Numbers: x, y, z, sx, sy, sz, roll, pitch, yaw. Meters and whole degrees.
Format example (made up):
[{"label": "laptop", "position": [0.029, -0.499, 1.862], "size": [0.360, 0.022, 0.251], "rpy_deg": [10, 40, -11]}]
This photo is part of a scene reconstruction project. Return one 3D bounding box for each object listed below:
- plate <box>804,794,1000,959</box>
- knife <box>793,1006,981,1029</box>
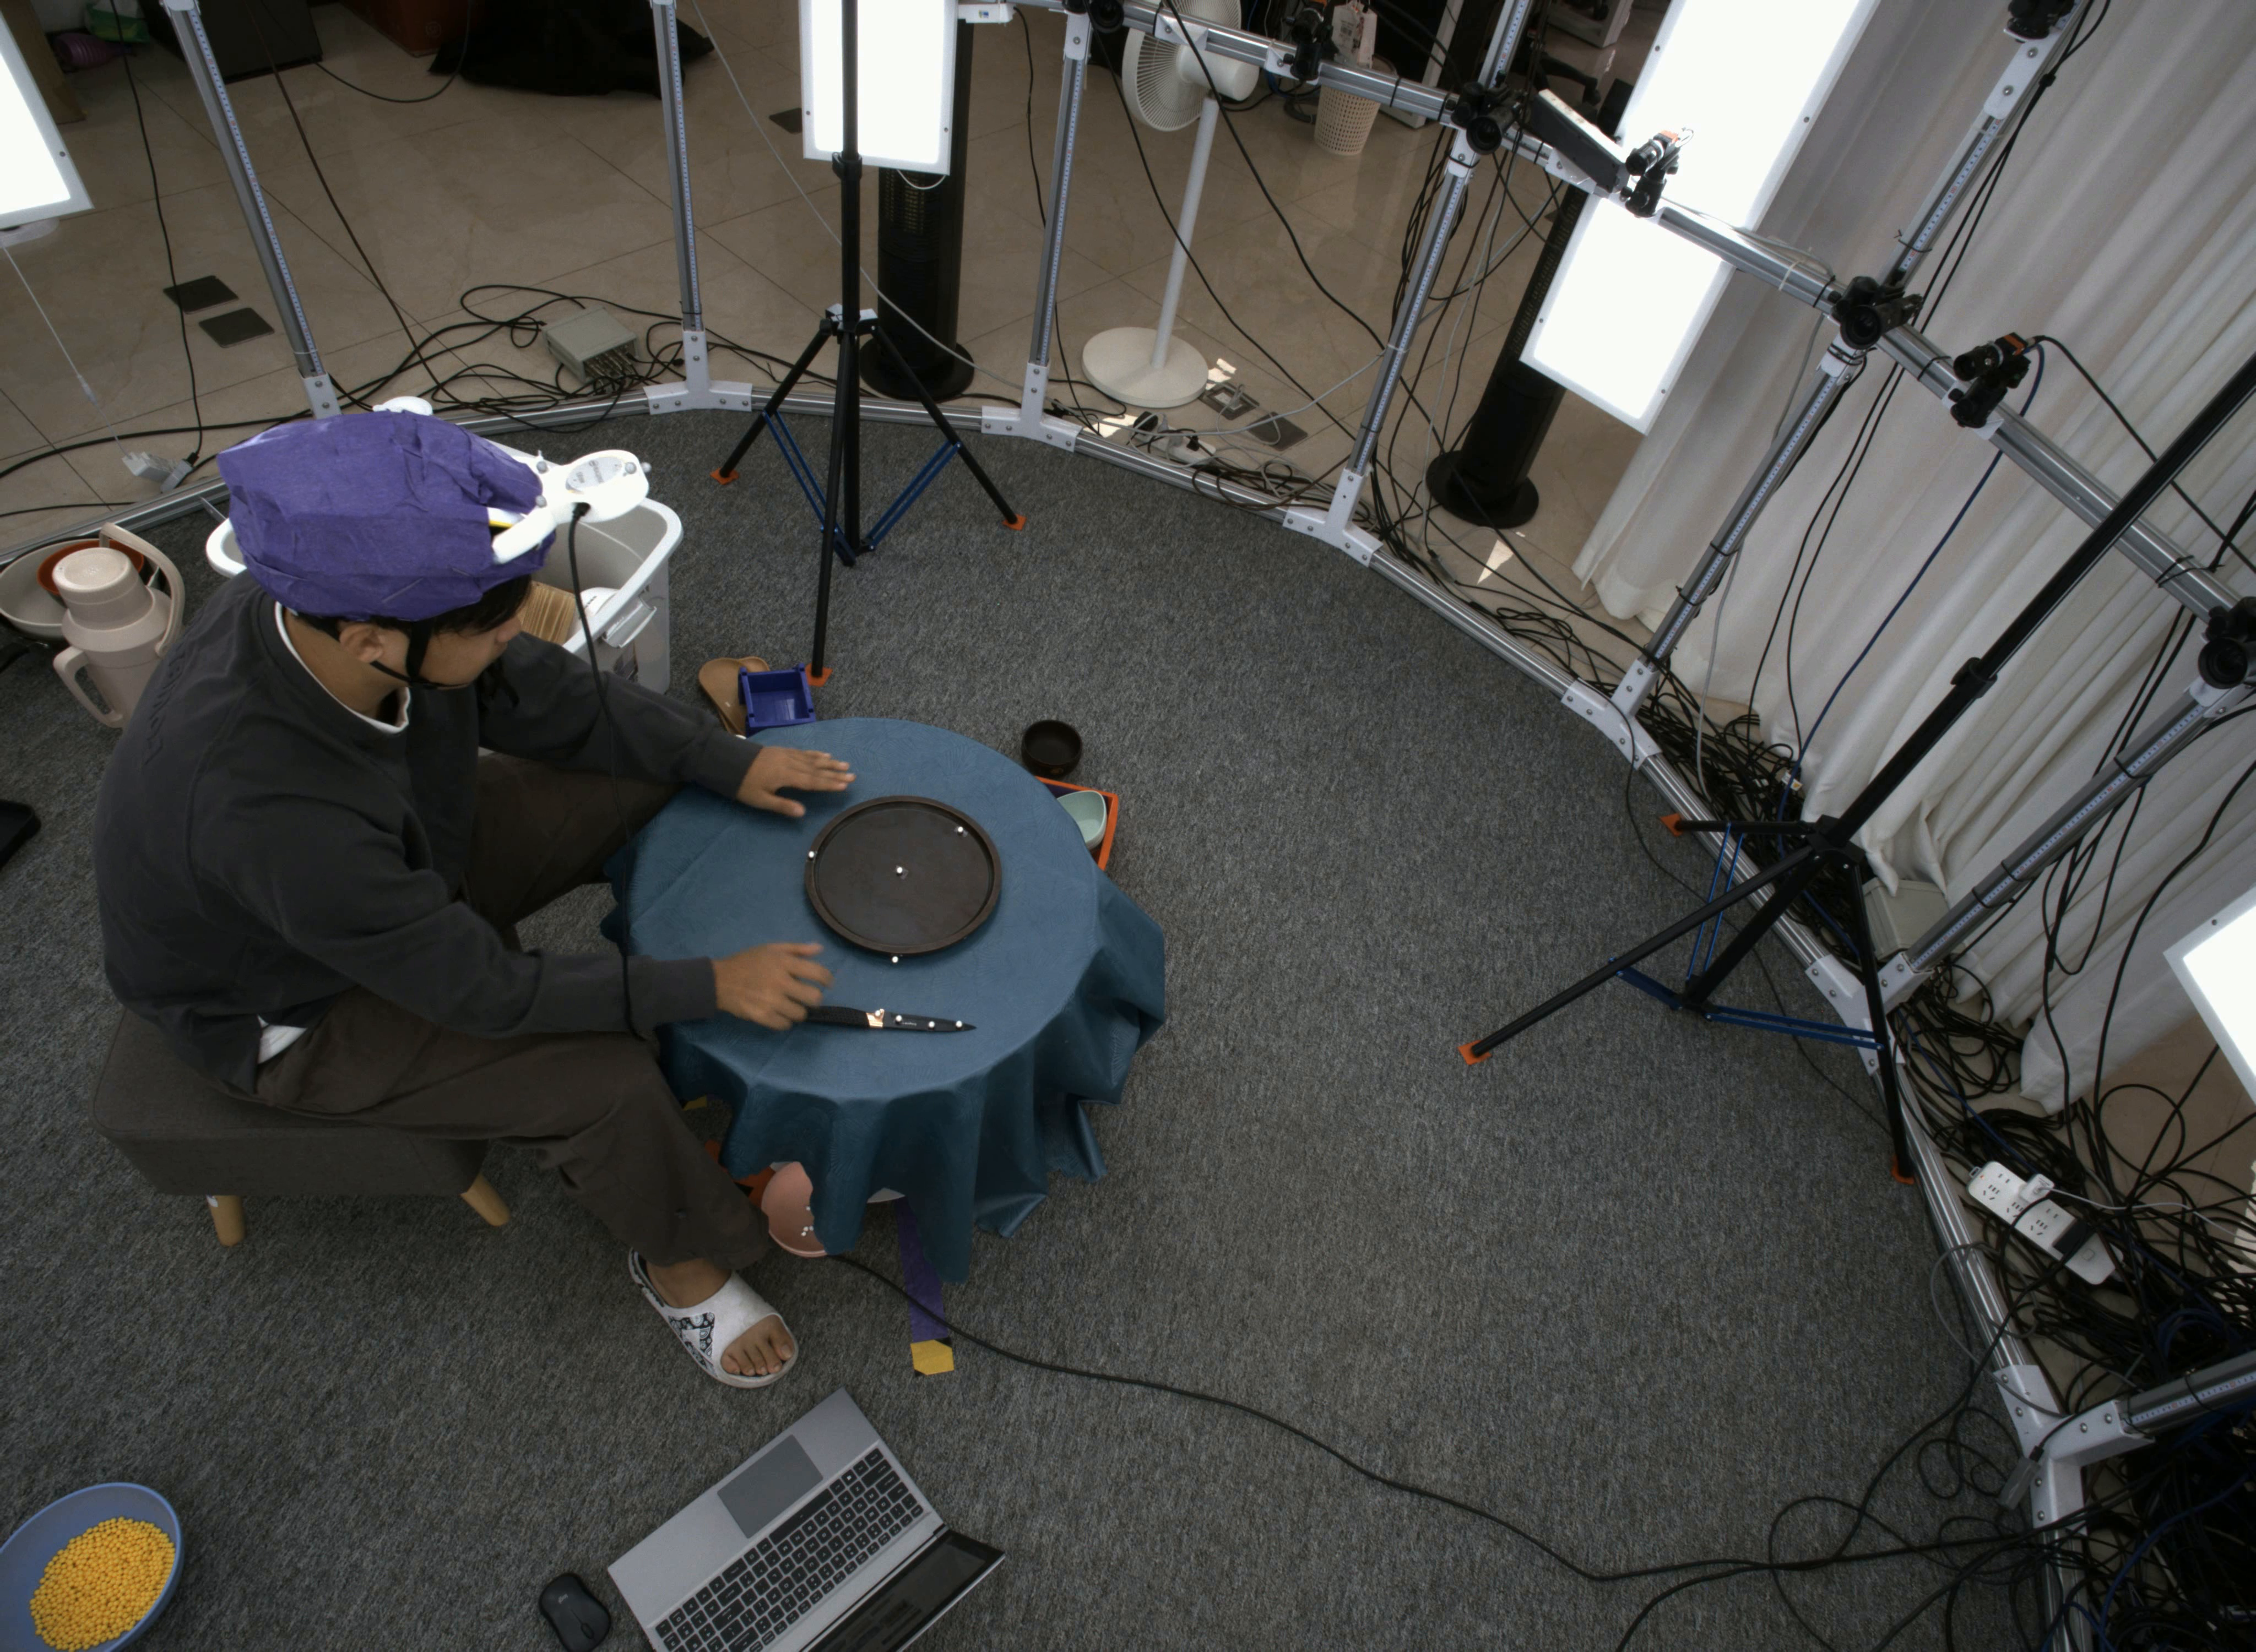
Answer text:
[{"label": "plate", "position": [-0.292, 0.063, 1.691], "size": [0.254, 0.029, 0.250], "rpy_deg": [7, 54, -8]}, {"label": "knife", "position": [-0.291, 0.231, 1.574], "size": [0.225, 0.017, 0.025], "rpy_deg": [5, 47, -12]}]
